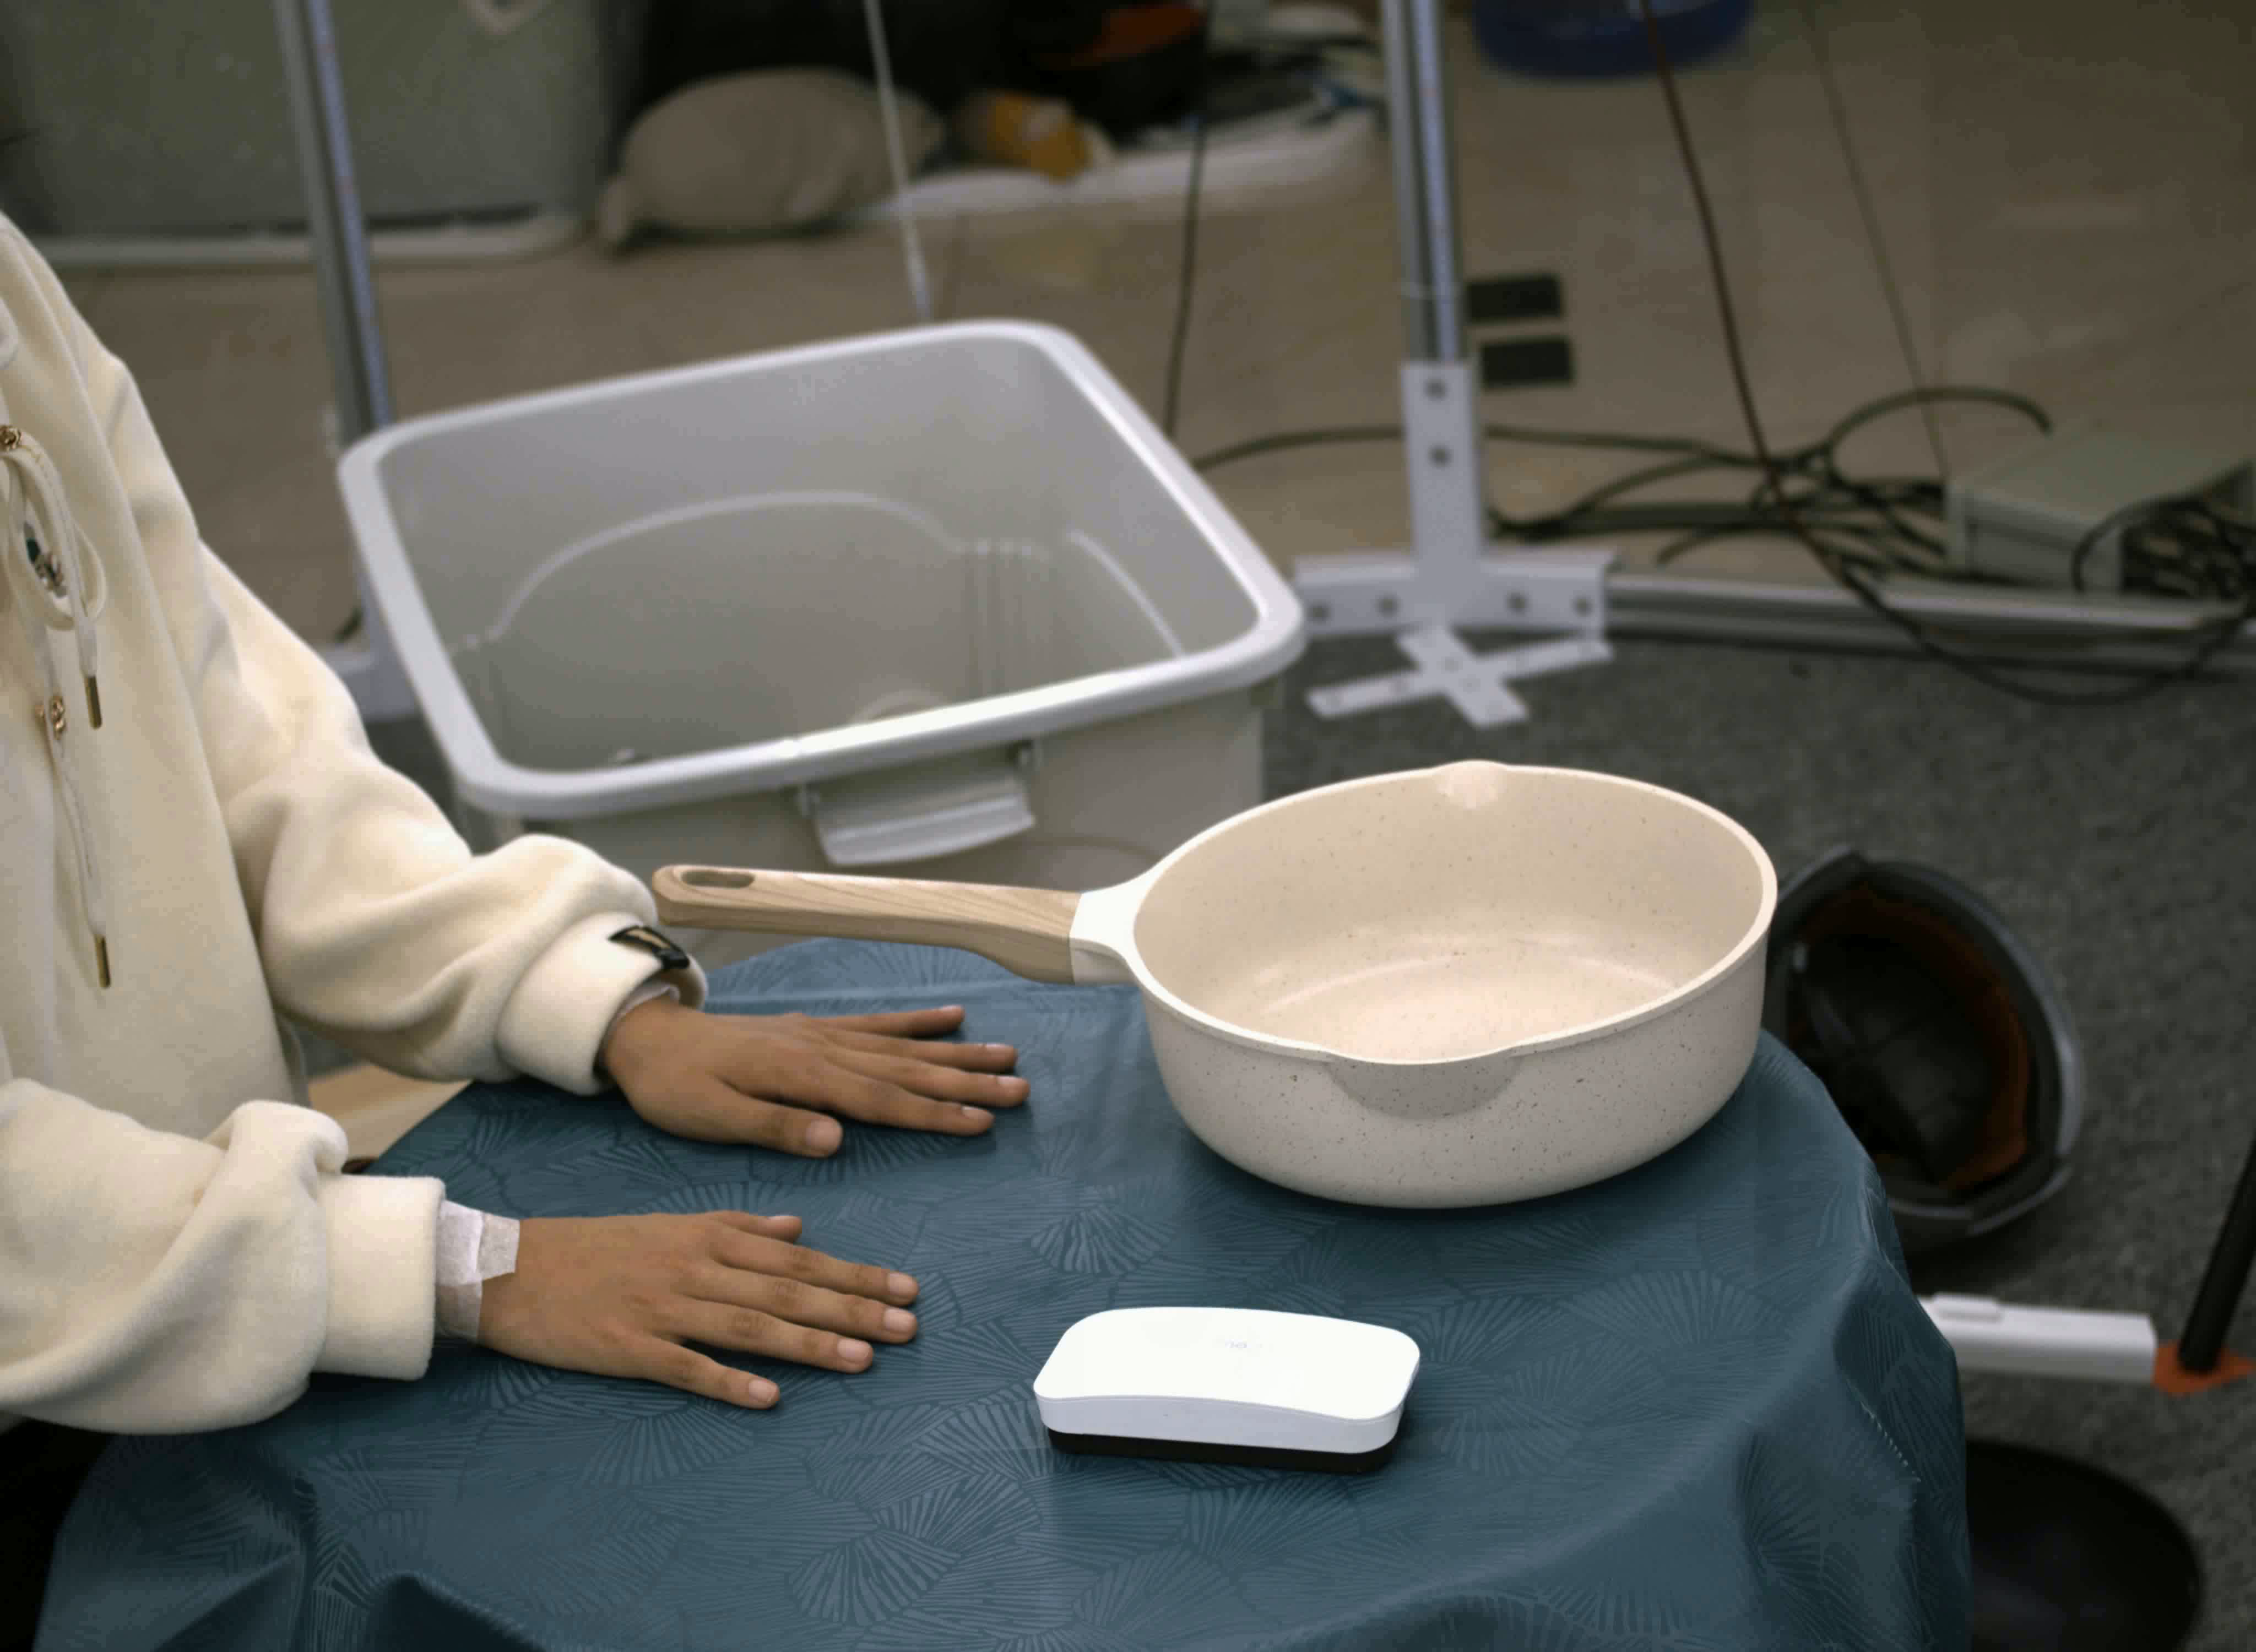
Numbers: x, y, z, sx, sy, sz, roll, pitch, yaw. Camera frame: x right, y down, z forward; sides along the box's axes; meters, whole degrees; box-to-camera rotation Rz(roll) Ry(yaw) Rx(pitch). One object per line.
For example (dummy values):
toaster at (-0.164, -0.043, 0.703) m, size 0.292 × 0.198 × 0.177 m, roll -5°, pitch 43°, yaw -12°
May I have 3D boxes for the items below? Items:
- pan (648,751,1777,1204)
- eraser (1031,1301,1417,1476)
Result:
pan at (0.034, 0.059, 2.189) m, size 0.434 × 0.103 × 0.259 m, roll -2°, pitch 26°, yaw 9°
eraser at (0.034, 0.196, 1.981) m, size 0.131 × 0.035 × 0.062 m, roll 3°, pitch 24°, yaw 18°
